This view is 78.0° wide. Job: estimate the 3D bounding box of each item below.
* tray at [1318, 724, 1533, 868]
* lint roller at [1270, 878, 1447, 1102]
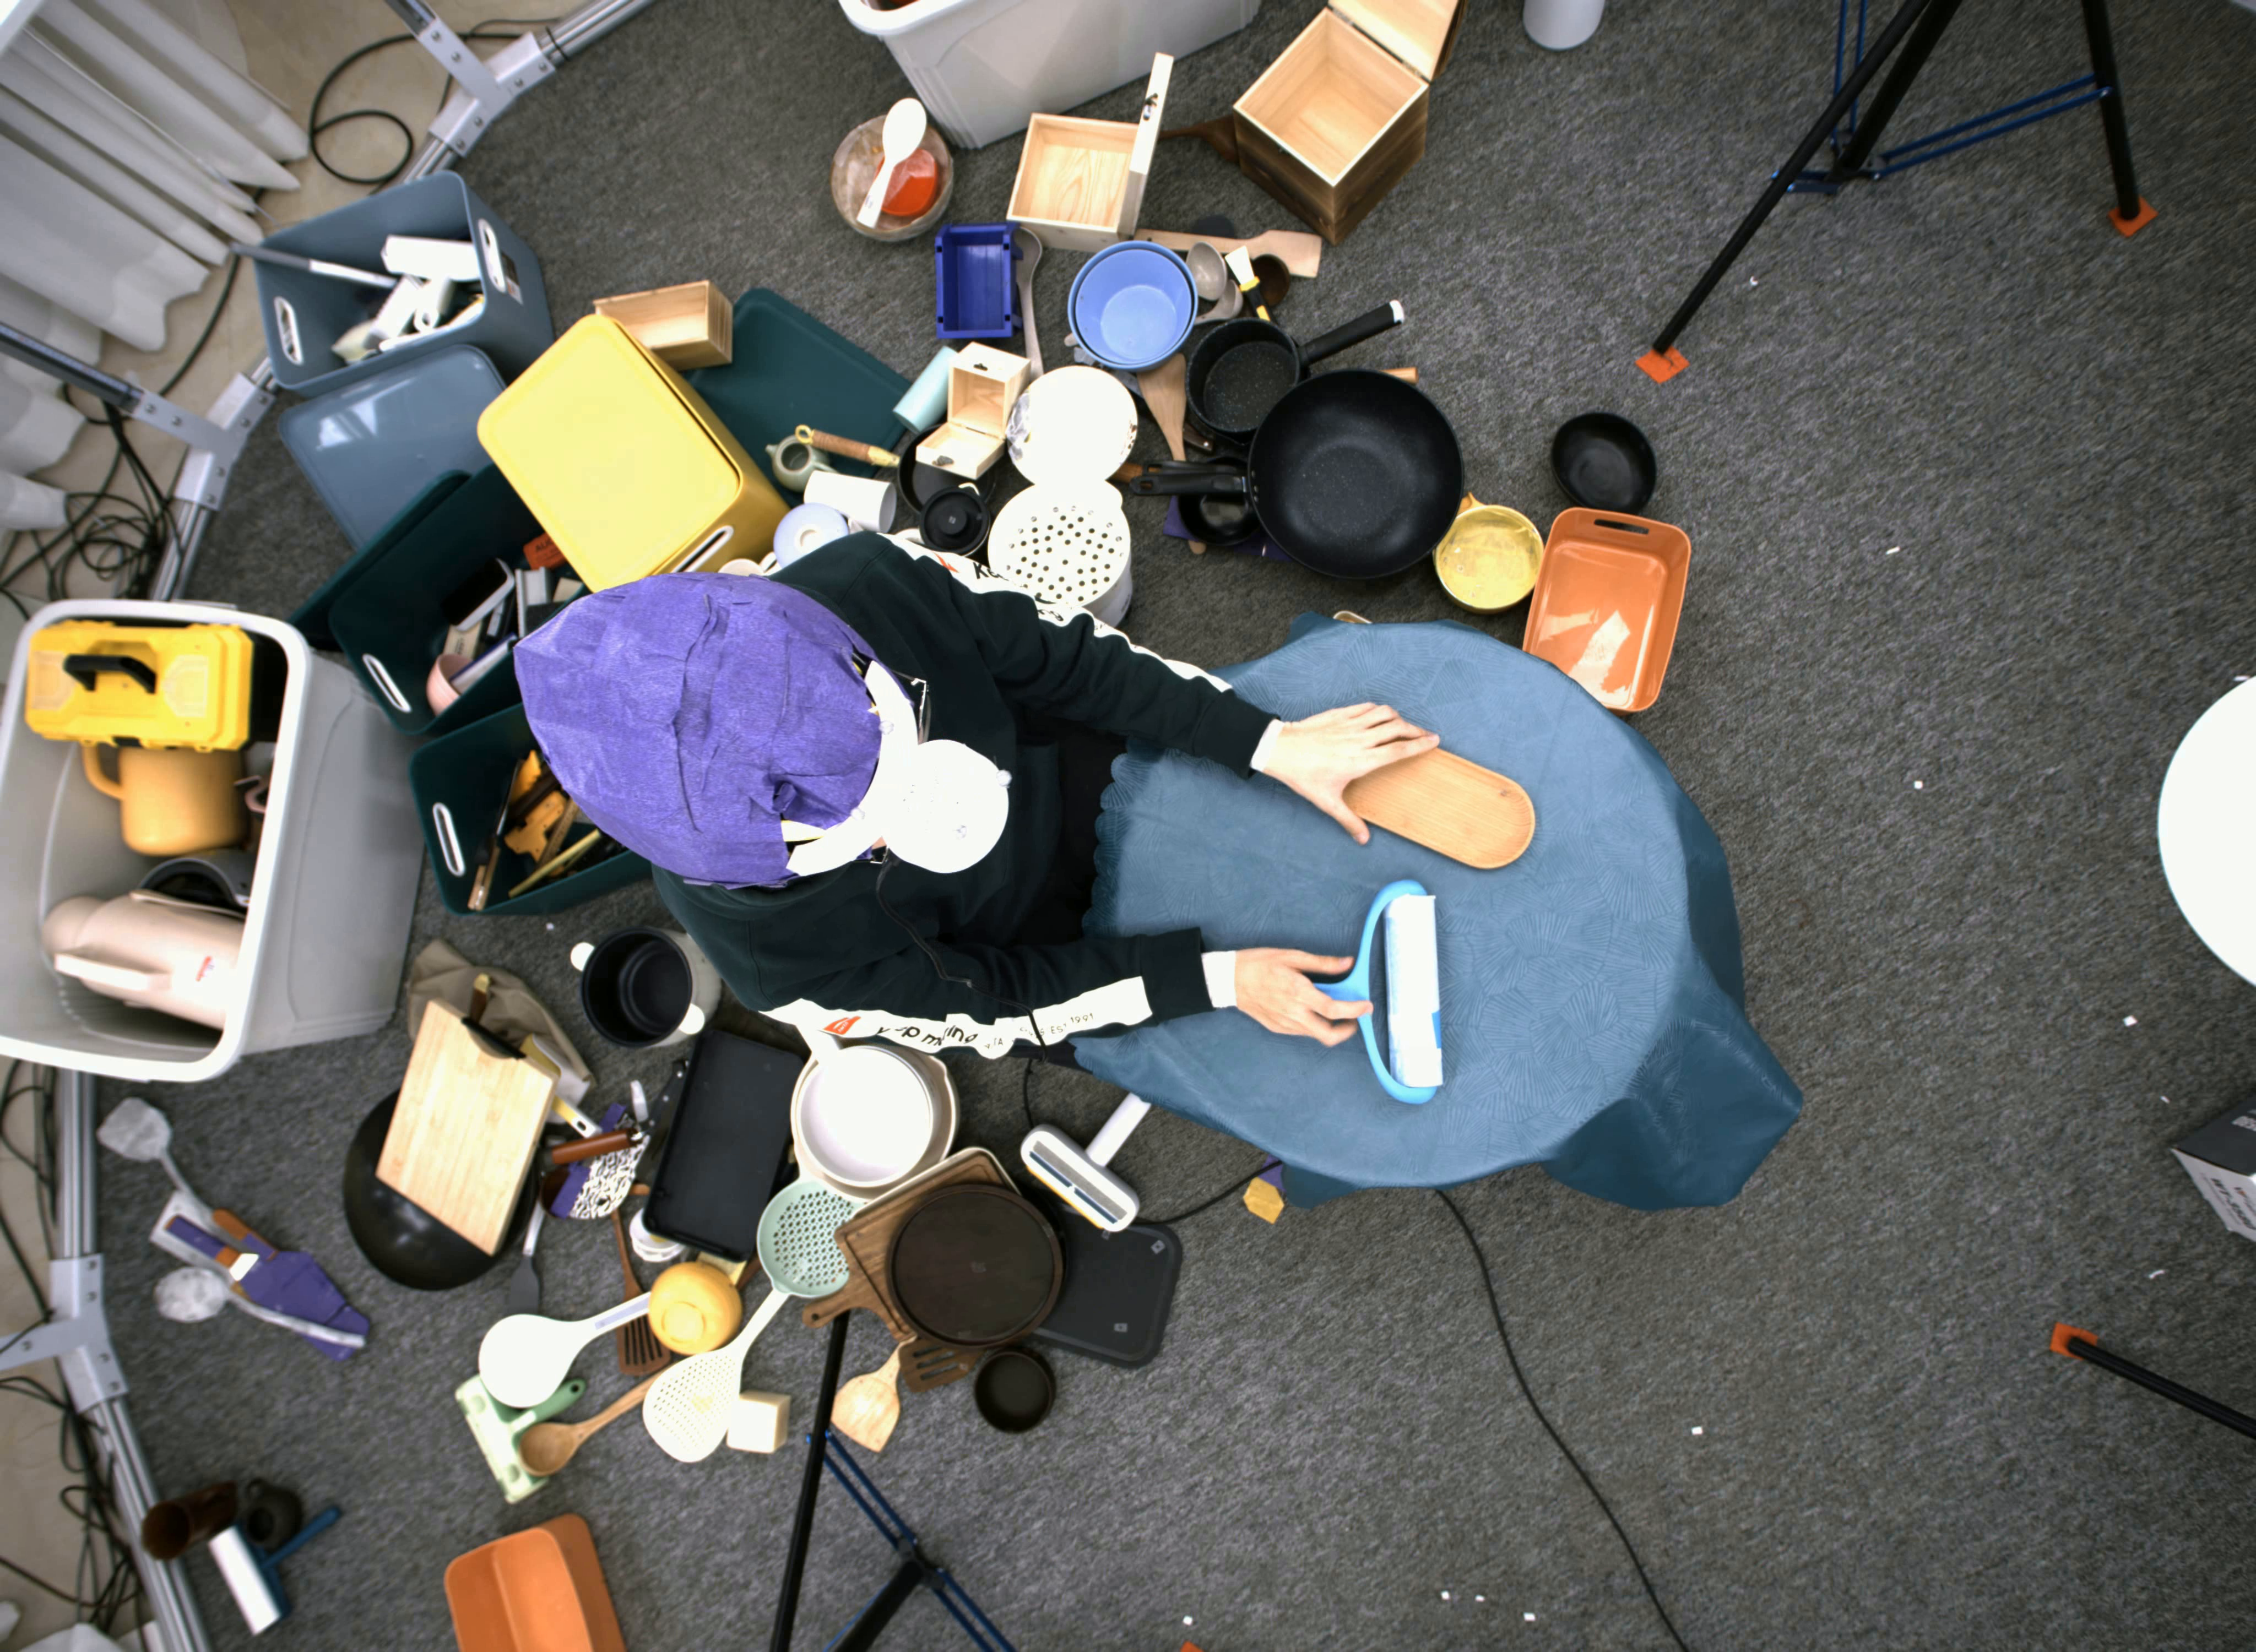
[{"bbox_3d":[0.311,-0.033,1.445,0.231,0.020,0.101,23,90,12],"label":"tray"},{"bbox_3d":[0.235,0.172,1.427,0.181,0.068,0.228,-6,87,9],"label":"lint roller"}]
